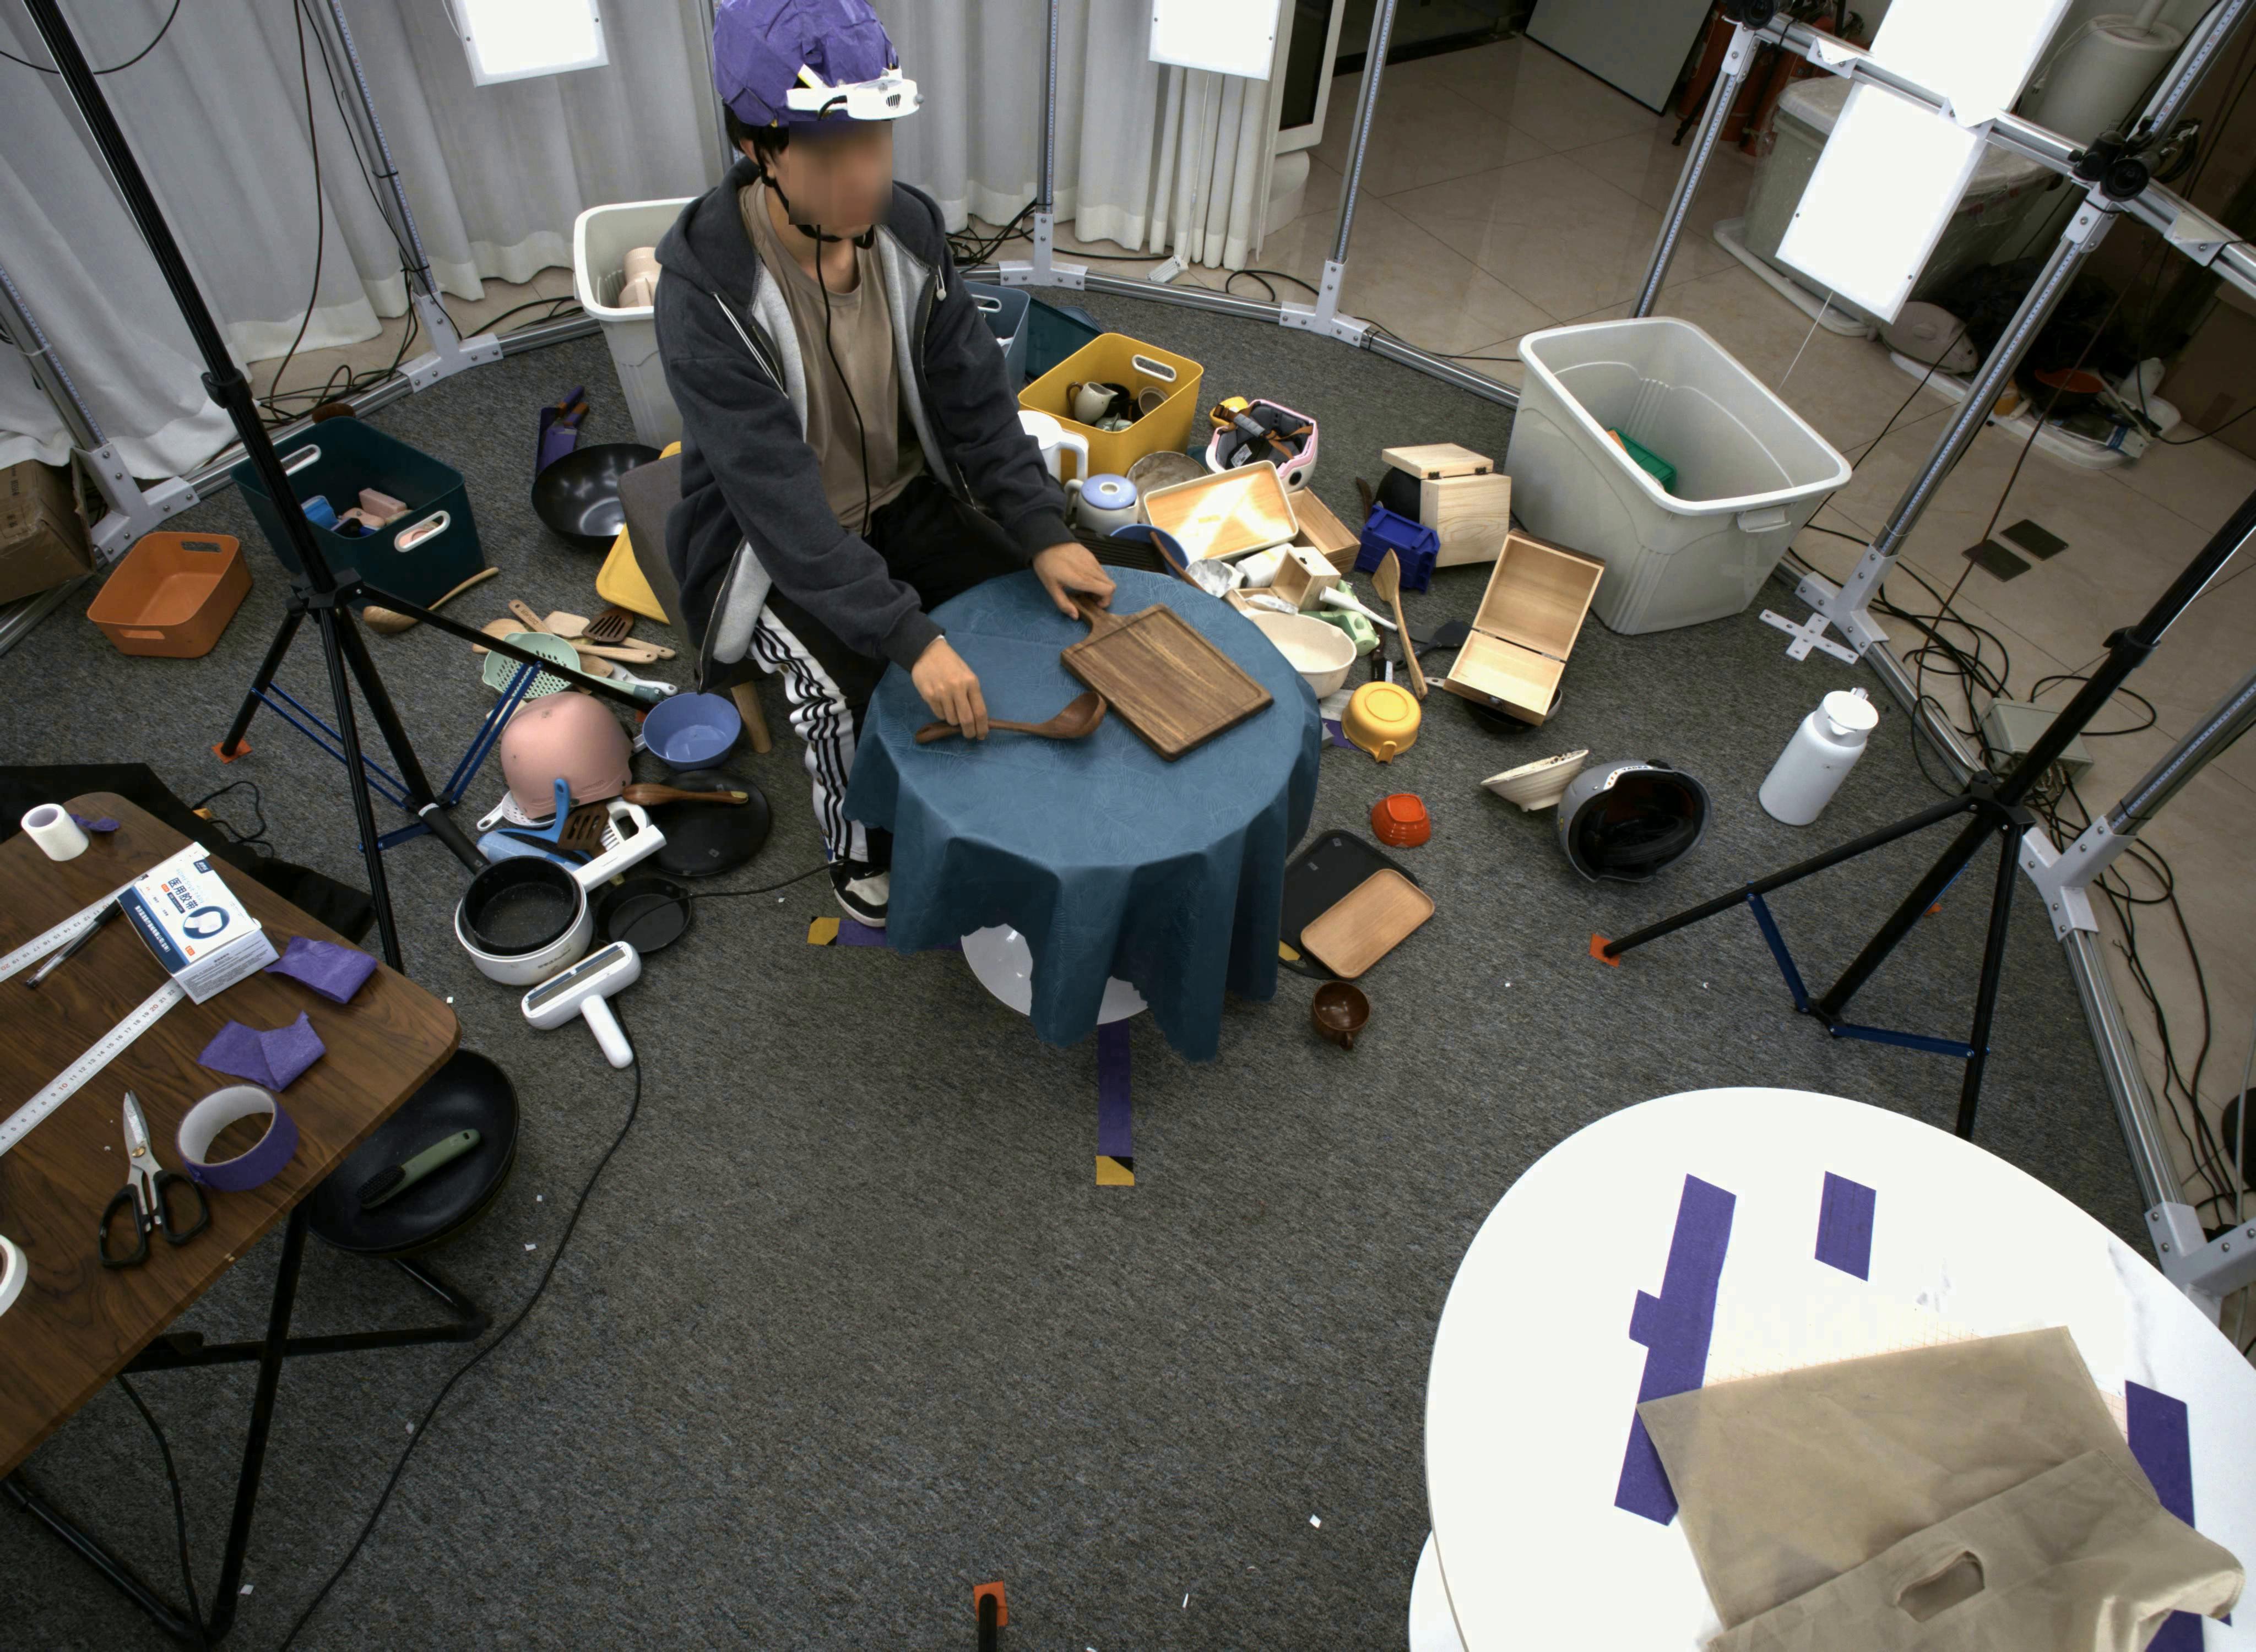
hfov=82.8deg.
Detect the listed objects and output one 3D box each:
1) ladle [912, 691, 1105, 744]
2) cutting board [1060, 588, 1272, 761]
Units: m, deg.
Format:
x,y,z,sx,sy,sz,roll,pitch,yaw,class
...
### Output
x,y,z,sx,sy,sz,roll,pitch,yaw,class
-0.161,-0.146,1.739,0.260,0.063,0.078,-2,35,-6,ladle
0.023,-0.243,1.864,0.202,0.022,0.358,-29,57,-27,cutting board
